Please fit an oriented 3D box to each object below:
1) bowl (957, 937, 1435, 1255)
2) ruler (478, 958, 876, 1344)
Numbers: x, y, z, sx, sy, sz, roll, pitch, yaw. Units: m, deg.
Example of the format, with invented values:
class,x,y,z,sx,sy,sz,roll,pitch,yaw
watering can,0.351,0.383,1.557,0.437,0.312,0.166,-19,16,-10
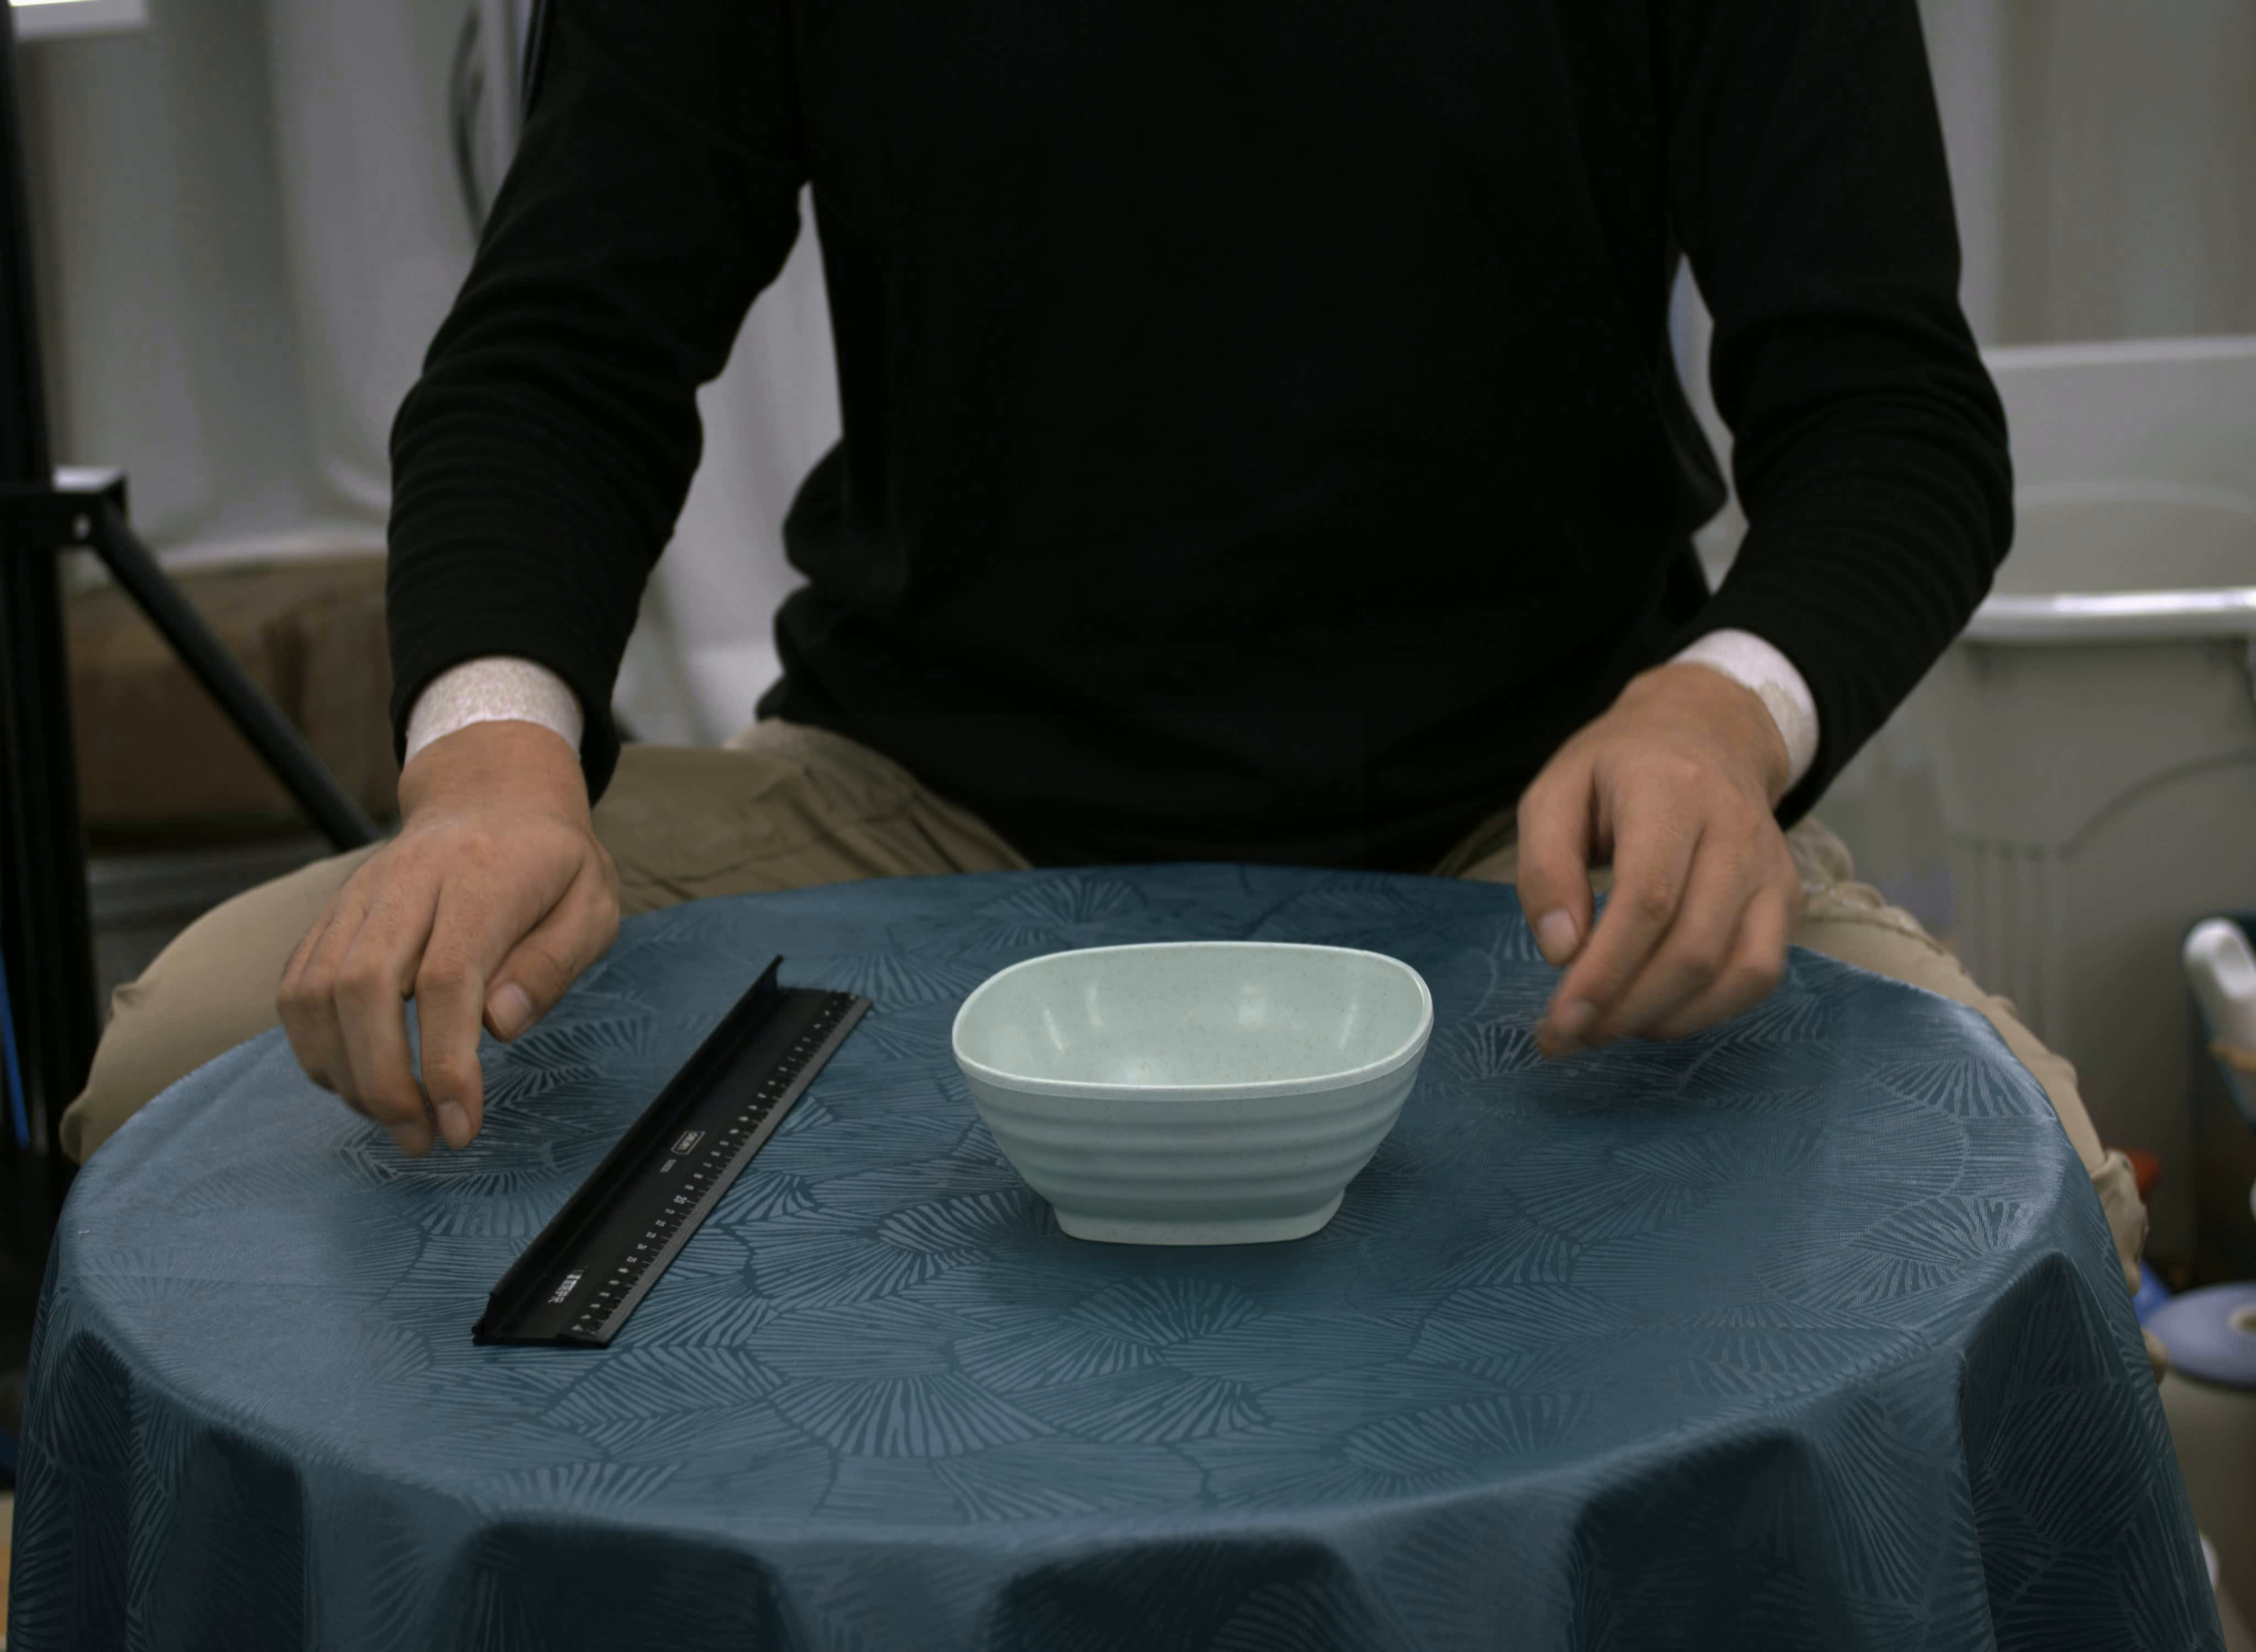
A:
class,x,y,z,sx,sy,sz,roll,pitch,yaw
bowl,0.021,0.082,1.545,0.151,0.058,0.152,-4,17,0
ruler,-0.130,0.093,1.603,0.039,0.017,0.311,5,17,11
